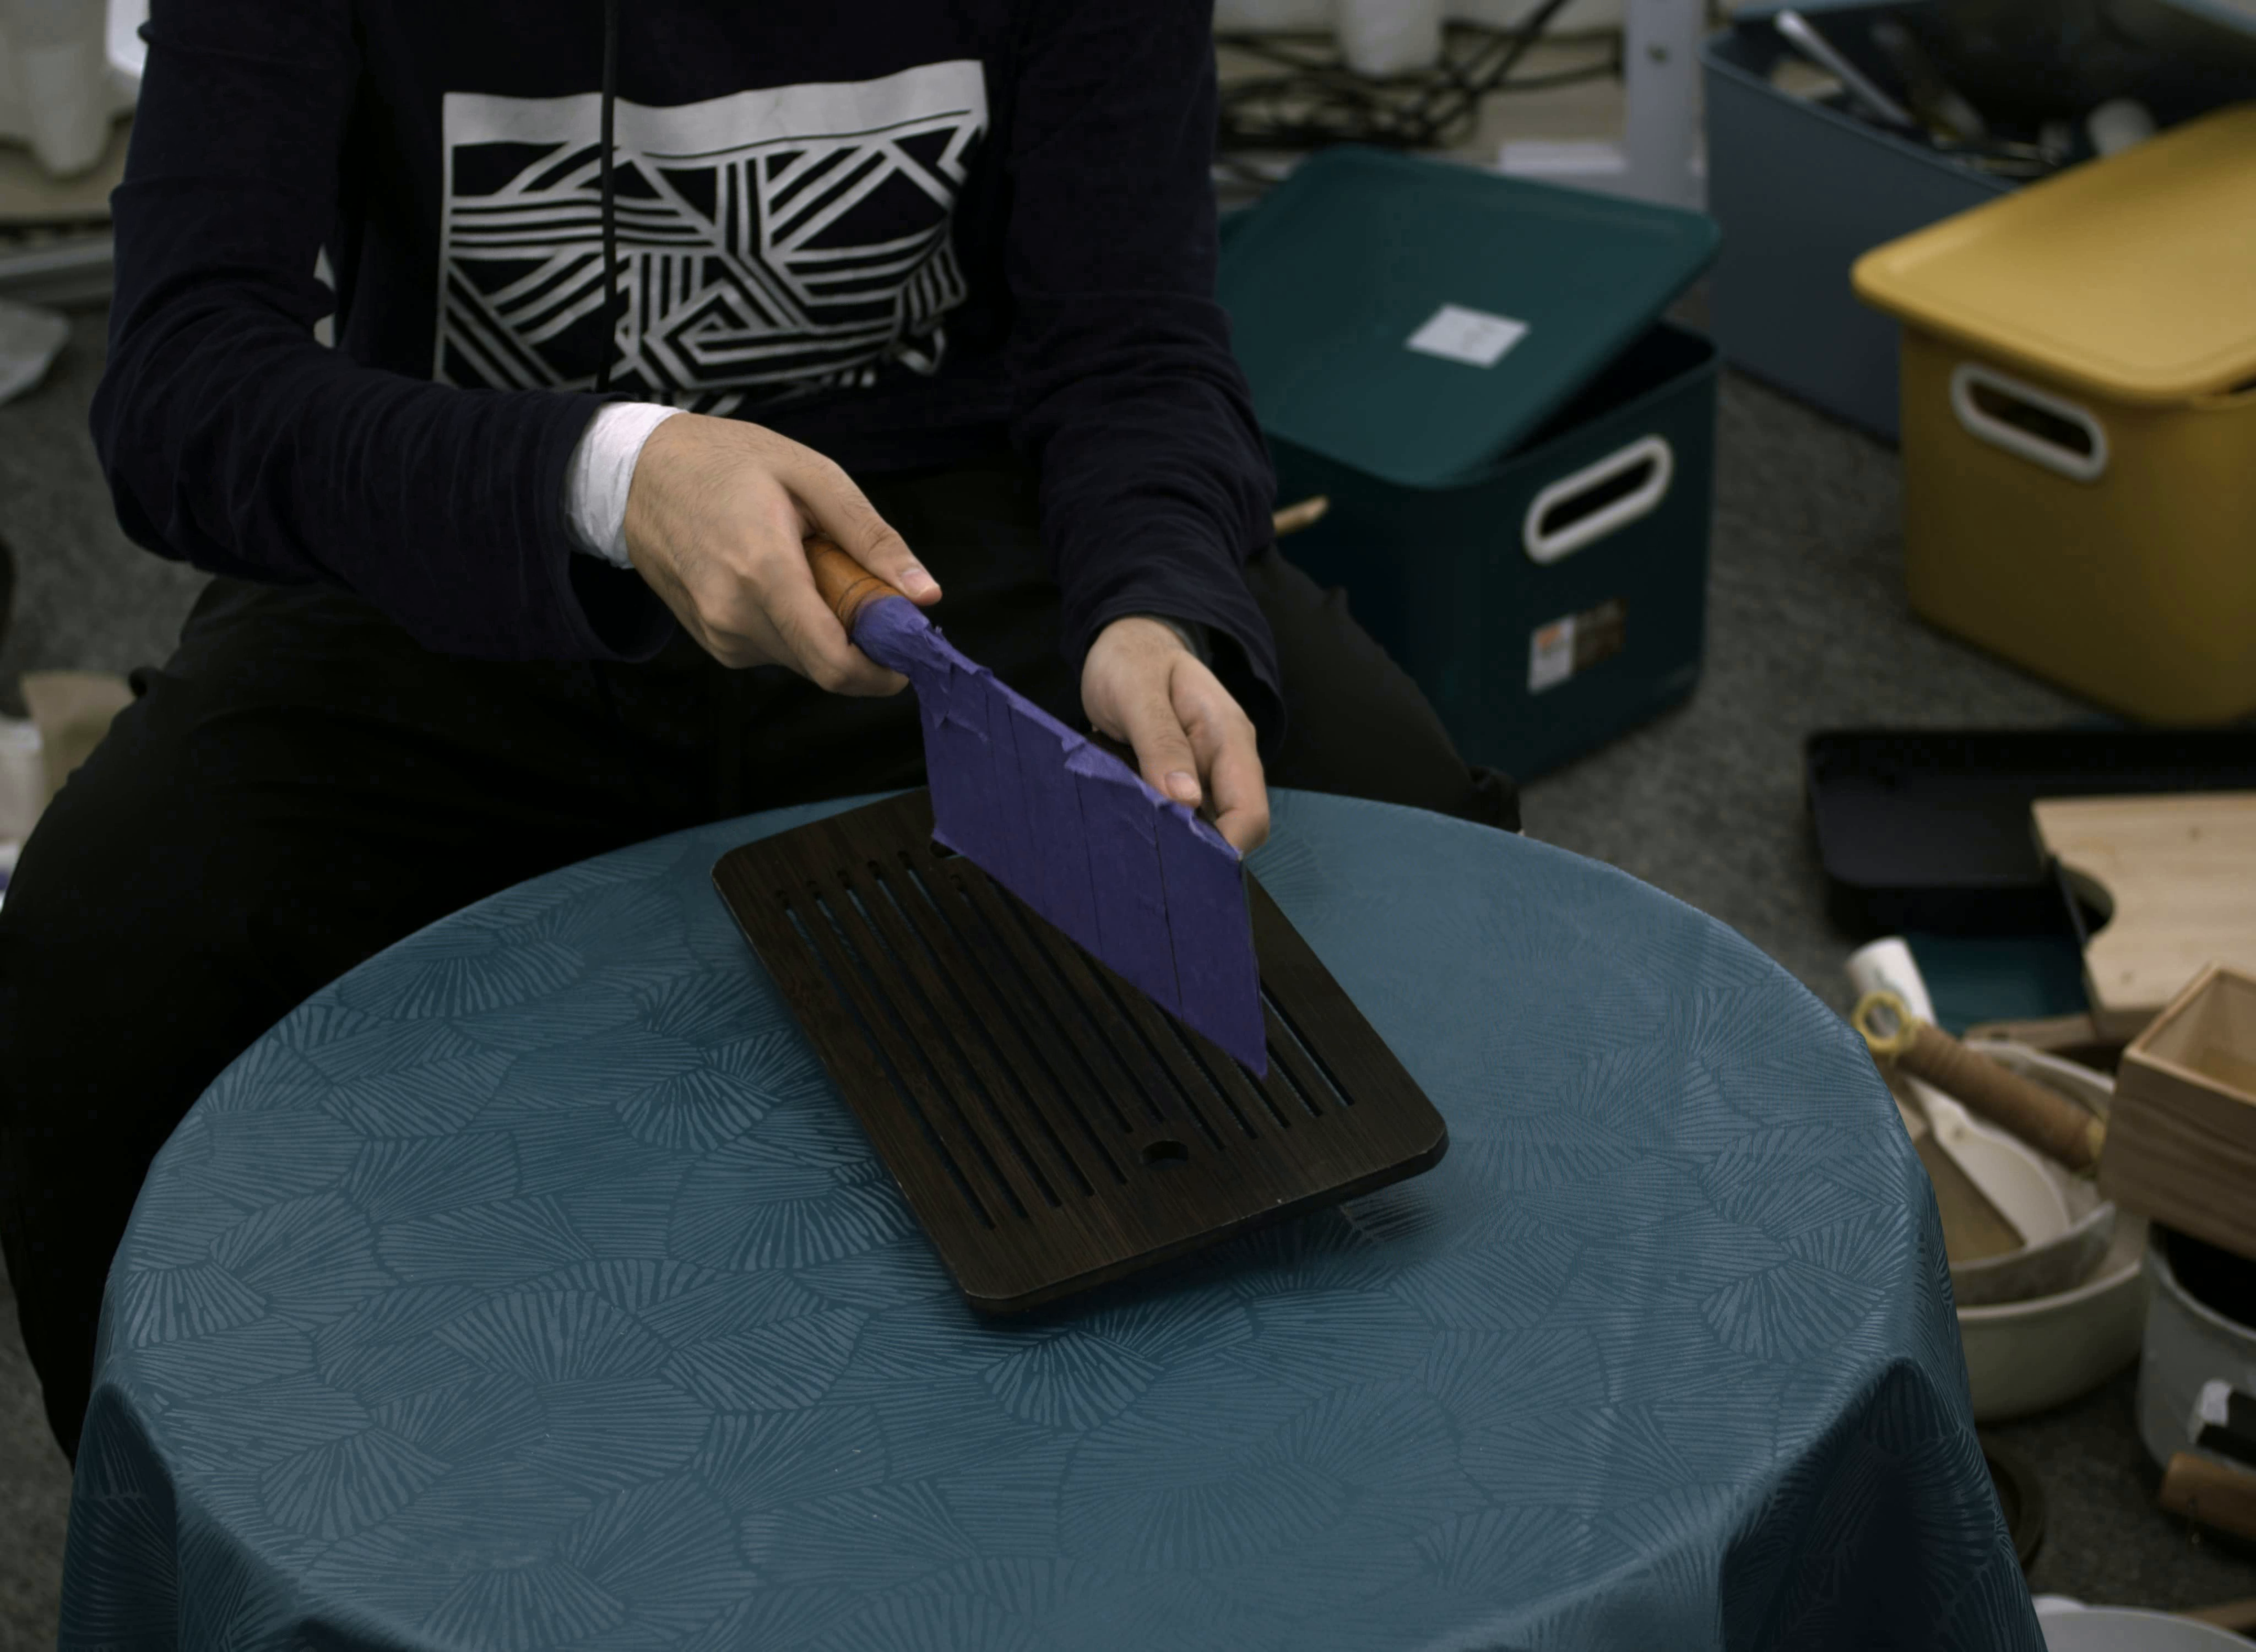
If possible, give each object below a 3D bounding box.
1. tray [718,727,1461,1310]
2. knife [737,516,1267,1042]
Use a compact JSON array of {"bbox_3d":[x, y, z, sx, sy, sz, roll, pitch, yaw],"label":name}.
[{"bbox_3d":[-0.019,0.062,1.925,0.170,0.018,0.309,-18,33,-13],"label":"tray"},{"bbox_3d":[-0.046,-0.015,1.926,0.032,0.103,0.316,-20,31,-24],"label":"knife"}]
